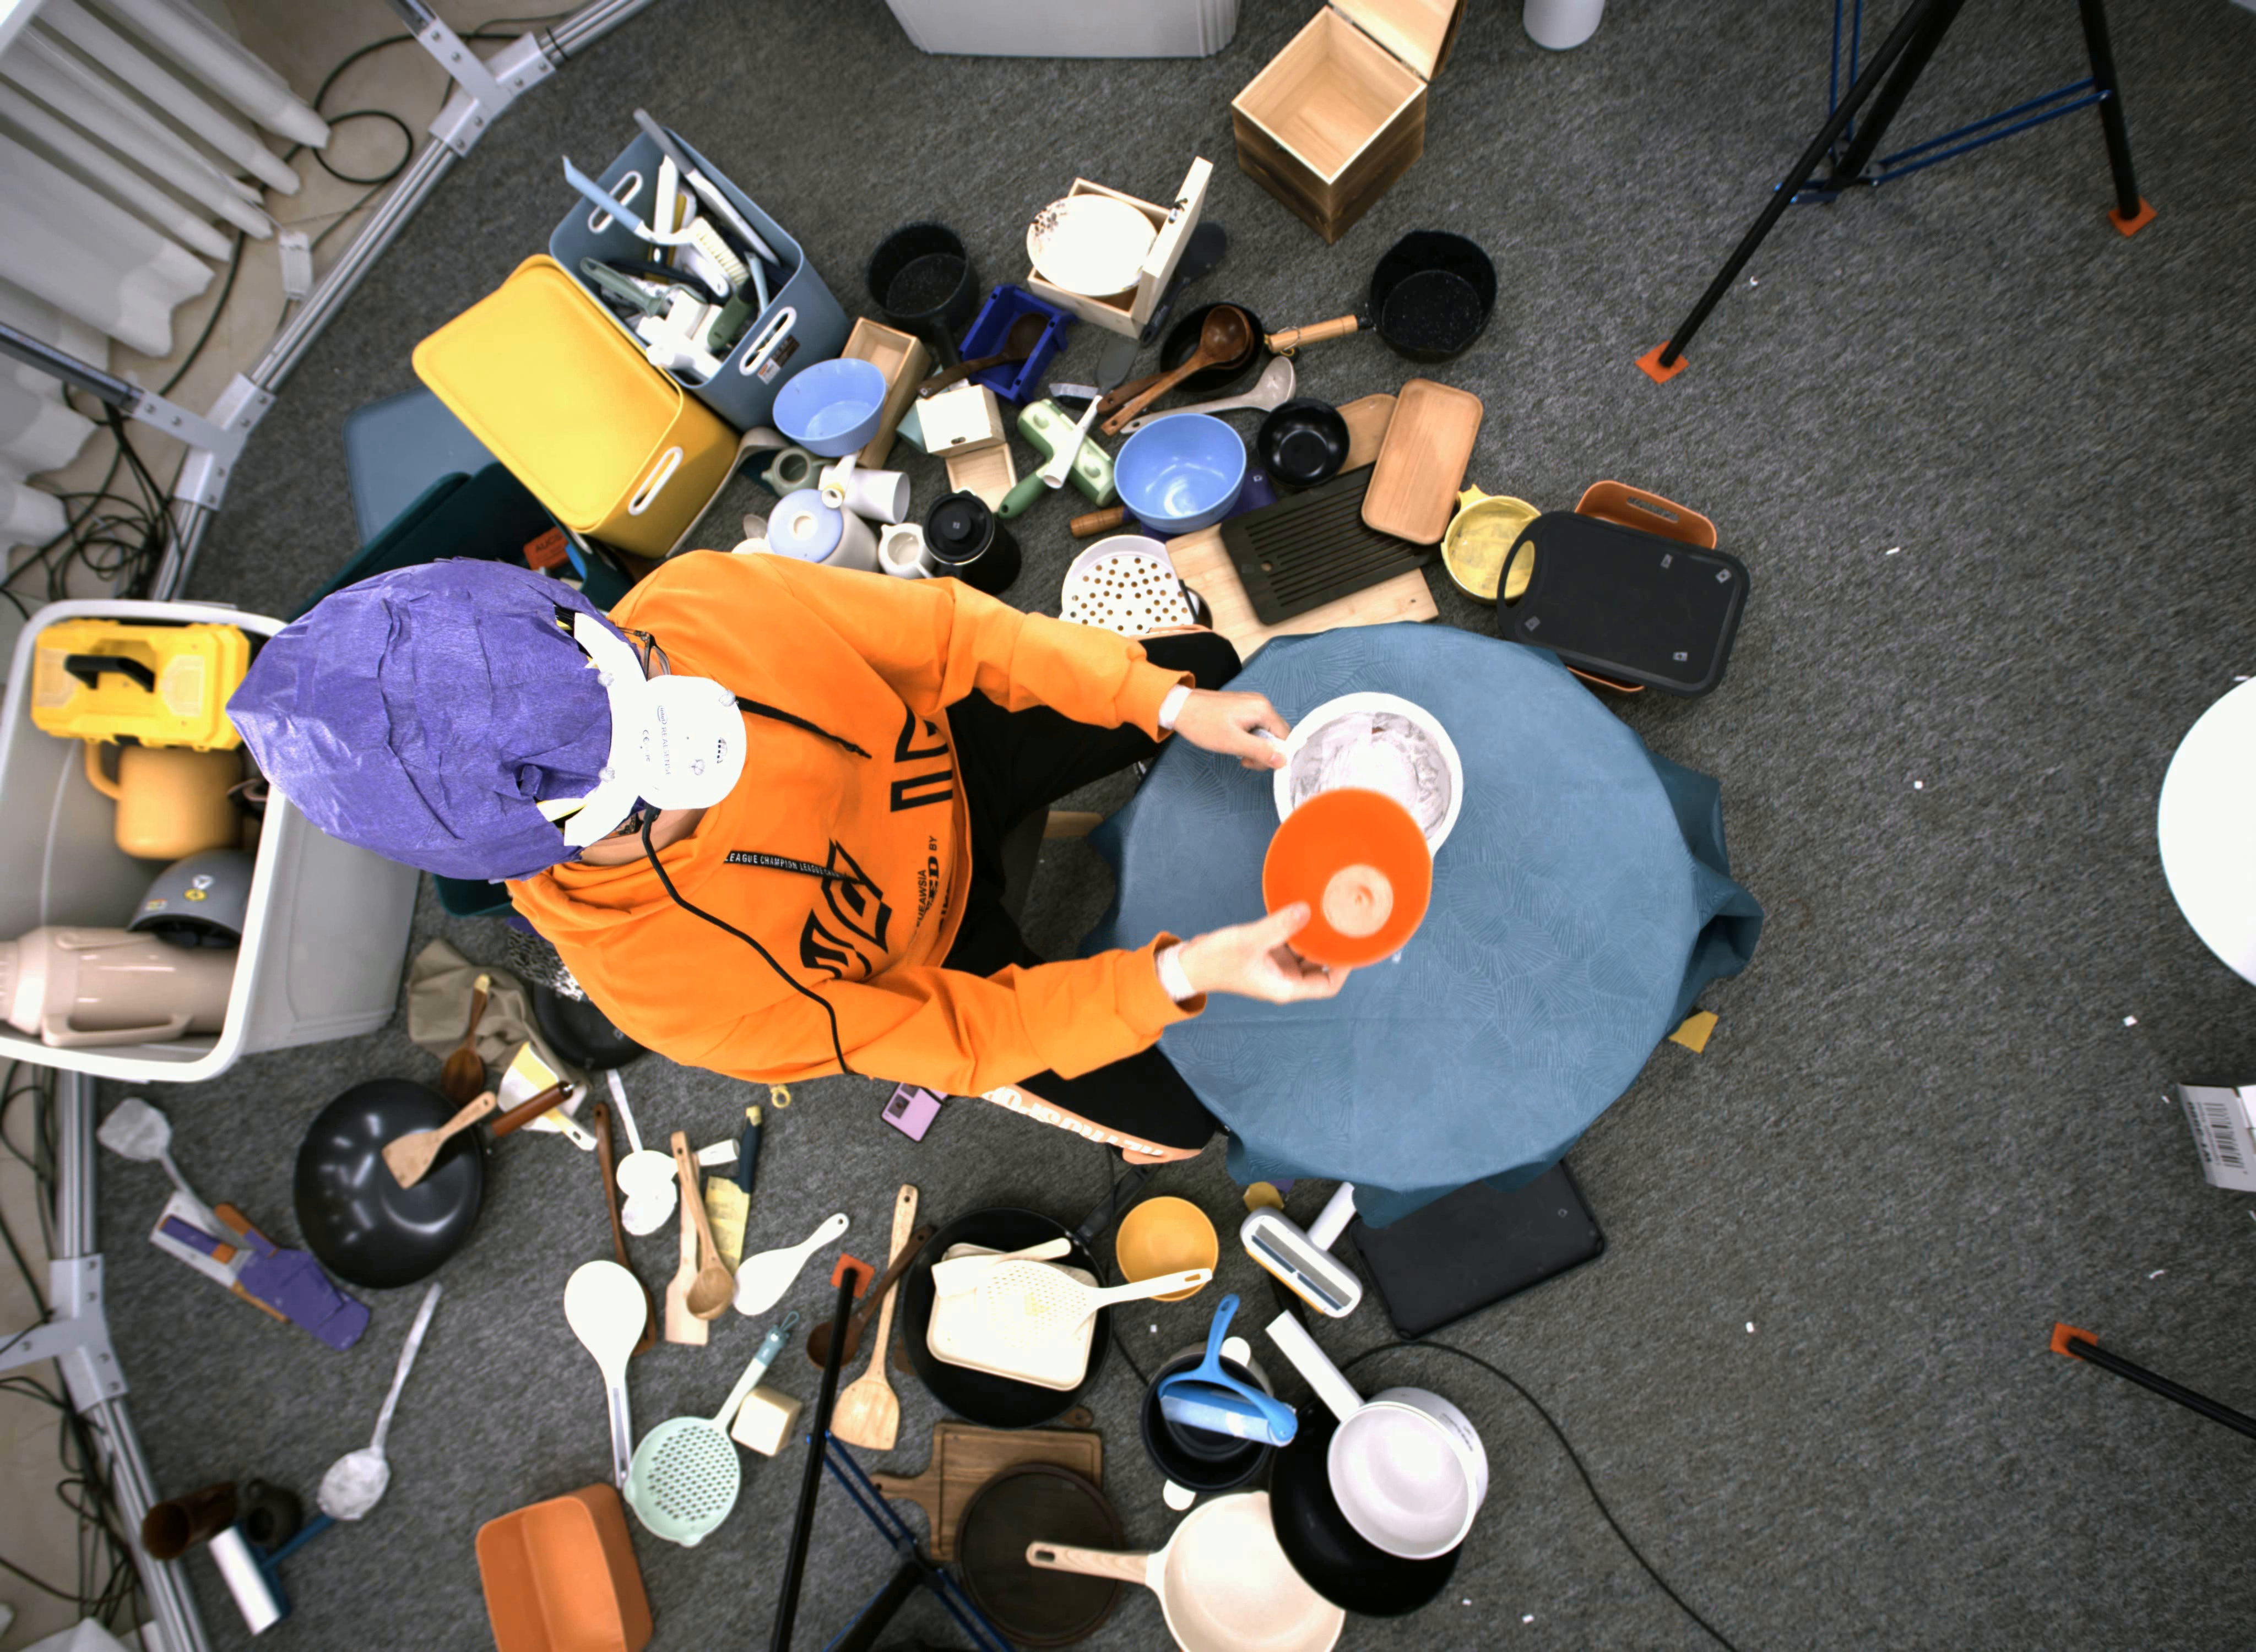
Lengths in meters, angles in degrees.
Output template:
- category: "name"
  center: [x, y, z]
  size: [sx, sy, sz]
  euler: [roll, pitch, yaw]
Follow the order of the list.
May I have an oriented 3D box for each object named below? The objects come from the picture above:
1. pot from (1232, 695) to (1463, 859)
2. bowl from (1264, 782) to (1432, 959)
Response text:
- category: "pot"
  center: [0.211, -0.044, 1.365]
  size: [0.233, 0.136, 0.179]
  euler: [22, 93, 10]
- category: "bowl"
  center: [0.196, 0.045, 1.177]
  size: [0.149, 0.105, 0.146]
  euler: [-6, 76, 24]
